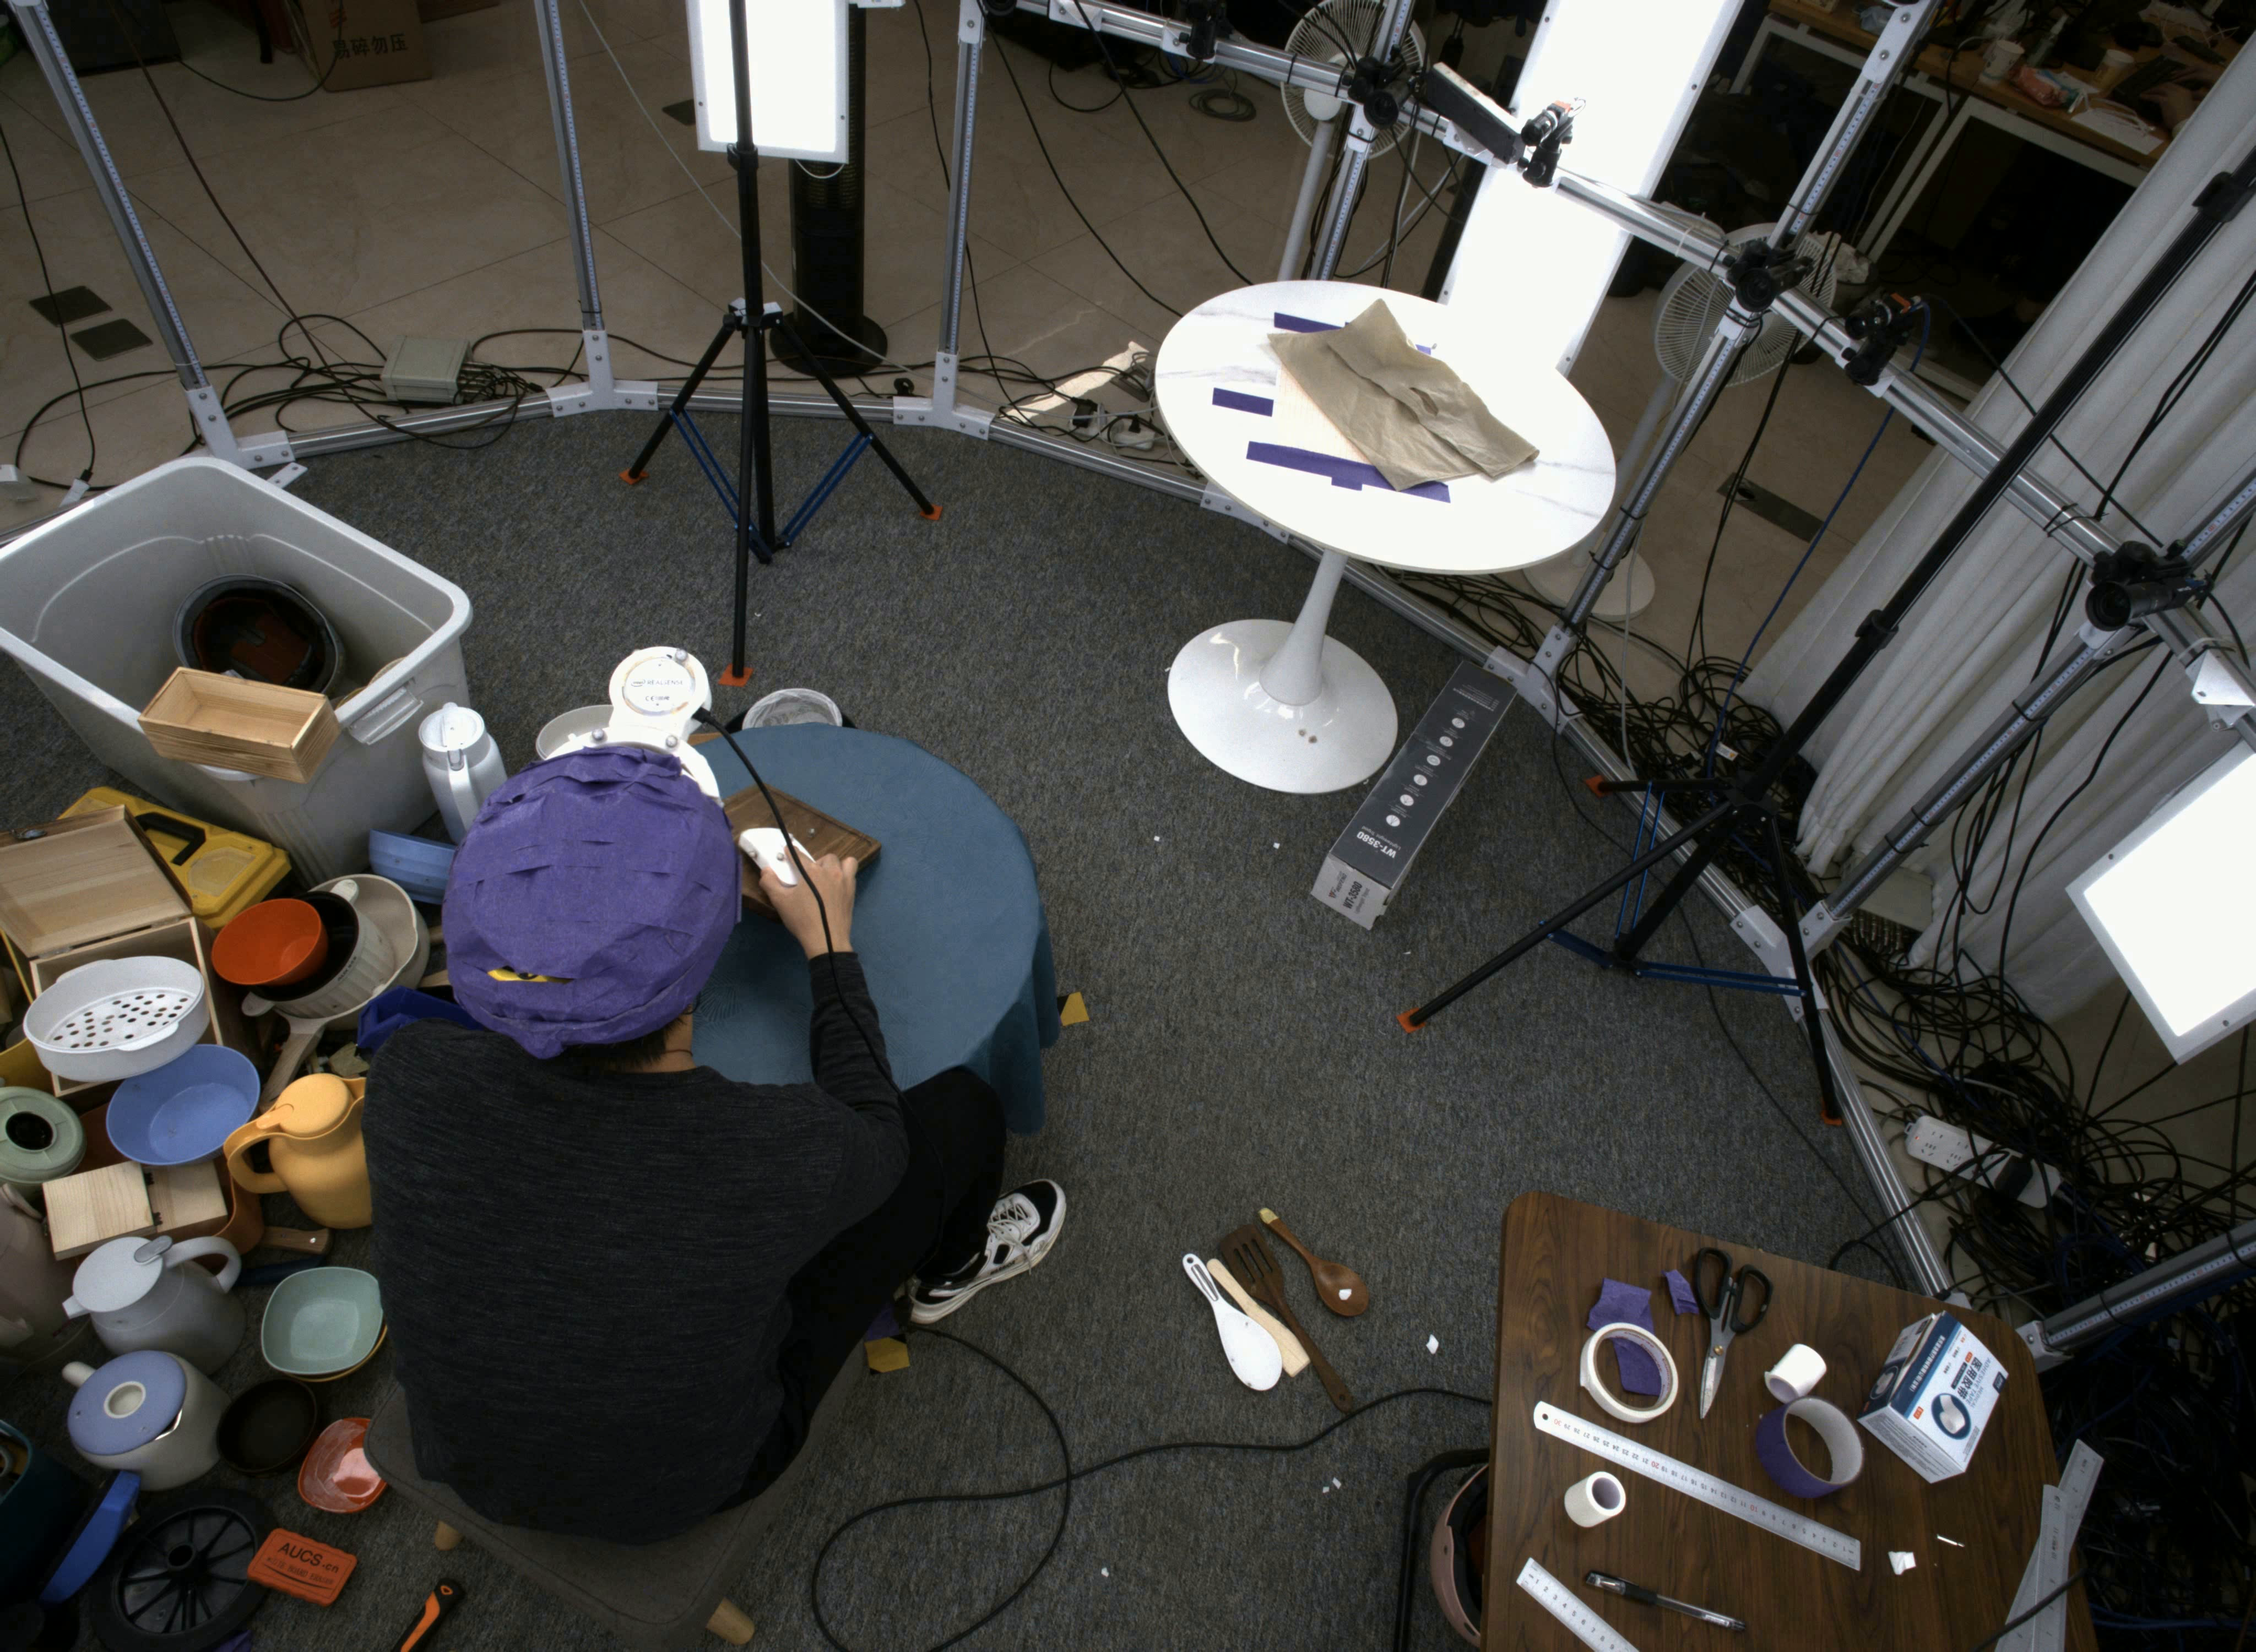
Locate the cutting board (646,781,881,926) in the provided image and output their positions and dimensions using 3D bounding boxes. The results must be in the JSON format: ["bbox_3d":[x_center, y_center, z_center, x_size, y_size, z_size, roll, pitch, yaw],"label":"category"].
[{"bbox_3d":[-0.461,0.040,1.566,0.198,0.023,0.351,27,25,7],"label":"cutting board"}]

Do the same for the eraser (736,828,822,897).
[{"bbox_3d":[-0.421,0.038,1.551,0.064,0.035,0.126,-2,30,-45],"label":"eraser"}]
